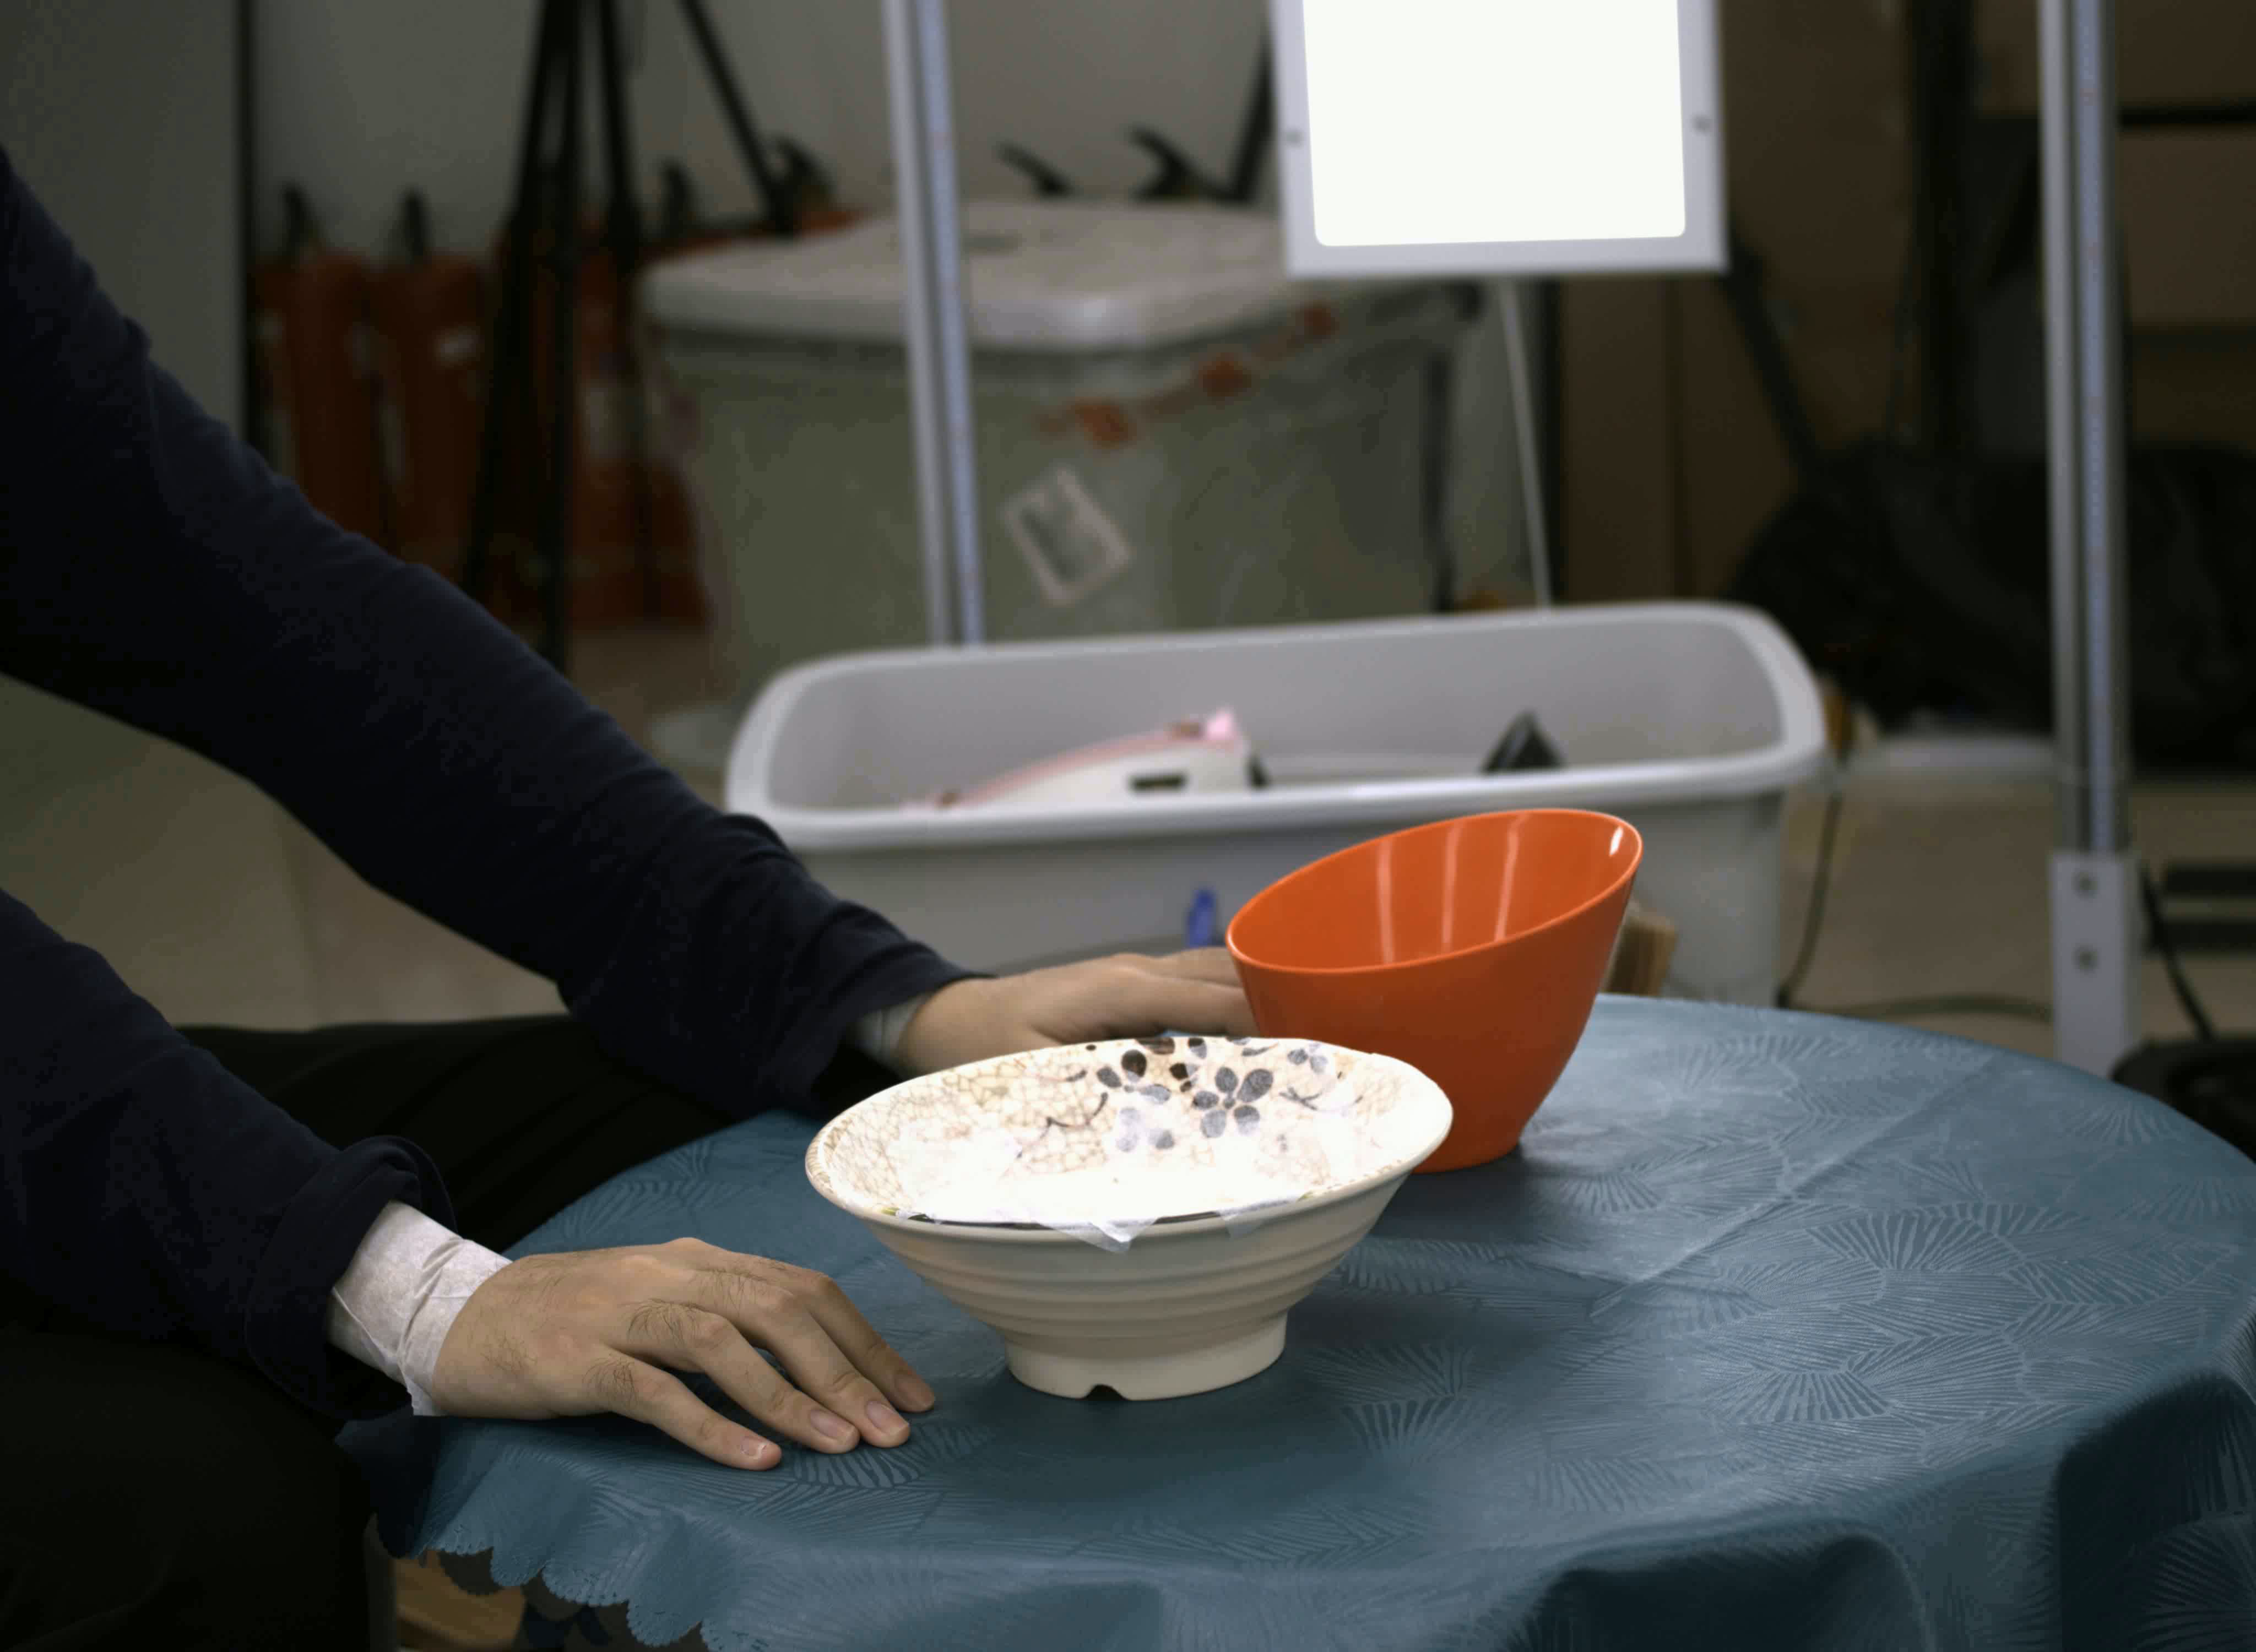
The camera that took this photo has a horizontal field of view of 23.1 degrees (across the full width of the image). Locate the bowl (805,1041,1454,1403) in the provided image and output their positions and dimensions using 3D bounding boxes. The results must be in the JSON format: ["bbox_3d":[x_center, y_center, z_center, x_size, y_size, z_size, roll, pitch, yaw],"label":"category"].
[{"bbox_3d":[0.003,0.130,1.724,0.203,0.078,0.204,-5,13,0],"label":"bowl"}]

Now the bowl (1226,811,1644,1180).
[{"bbox_3d":[0.111,0.062,1.915,0.148,0.105,0.148,-7,14,0],"label":"bowl"}]
